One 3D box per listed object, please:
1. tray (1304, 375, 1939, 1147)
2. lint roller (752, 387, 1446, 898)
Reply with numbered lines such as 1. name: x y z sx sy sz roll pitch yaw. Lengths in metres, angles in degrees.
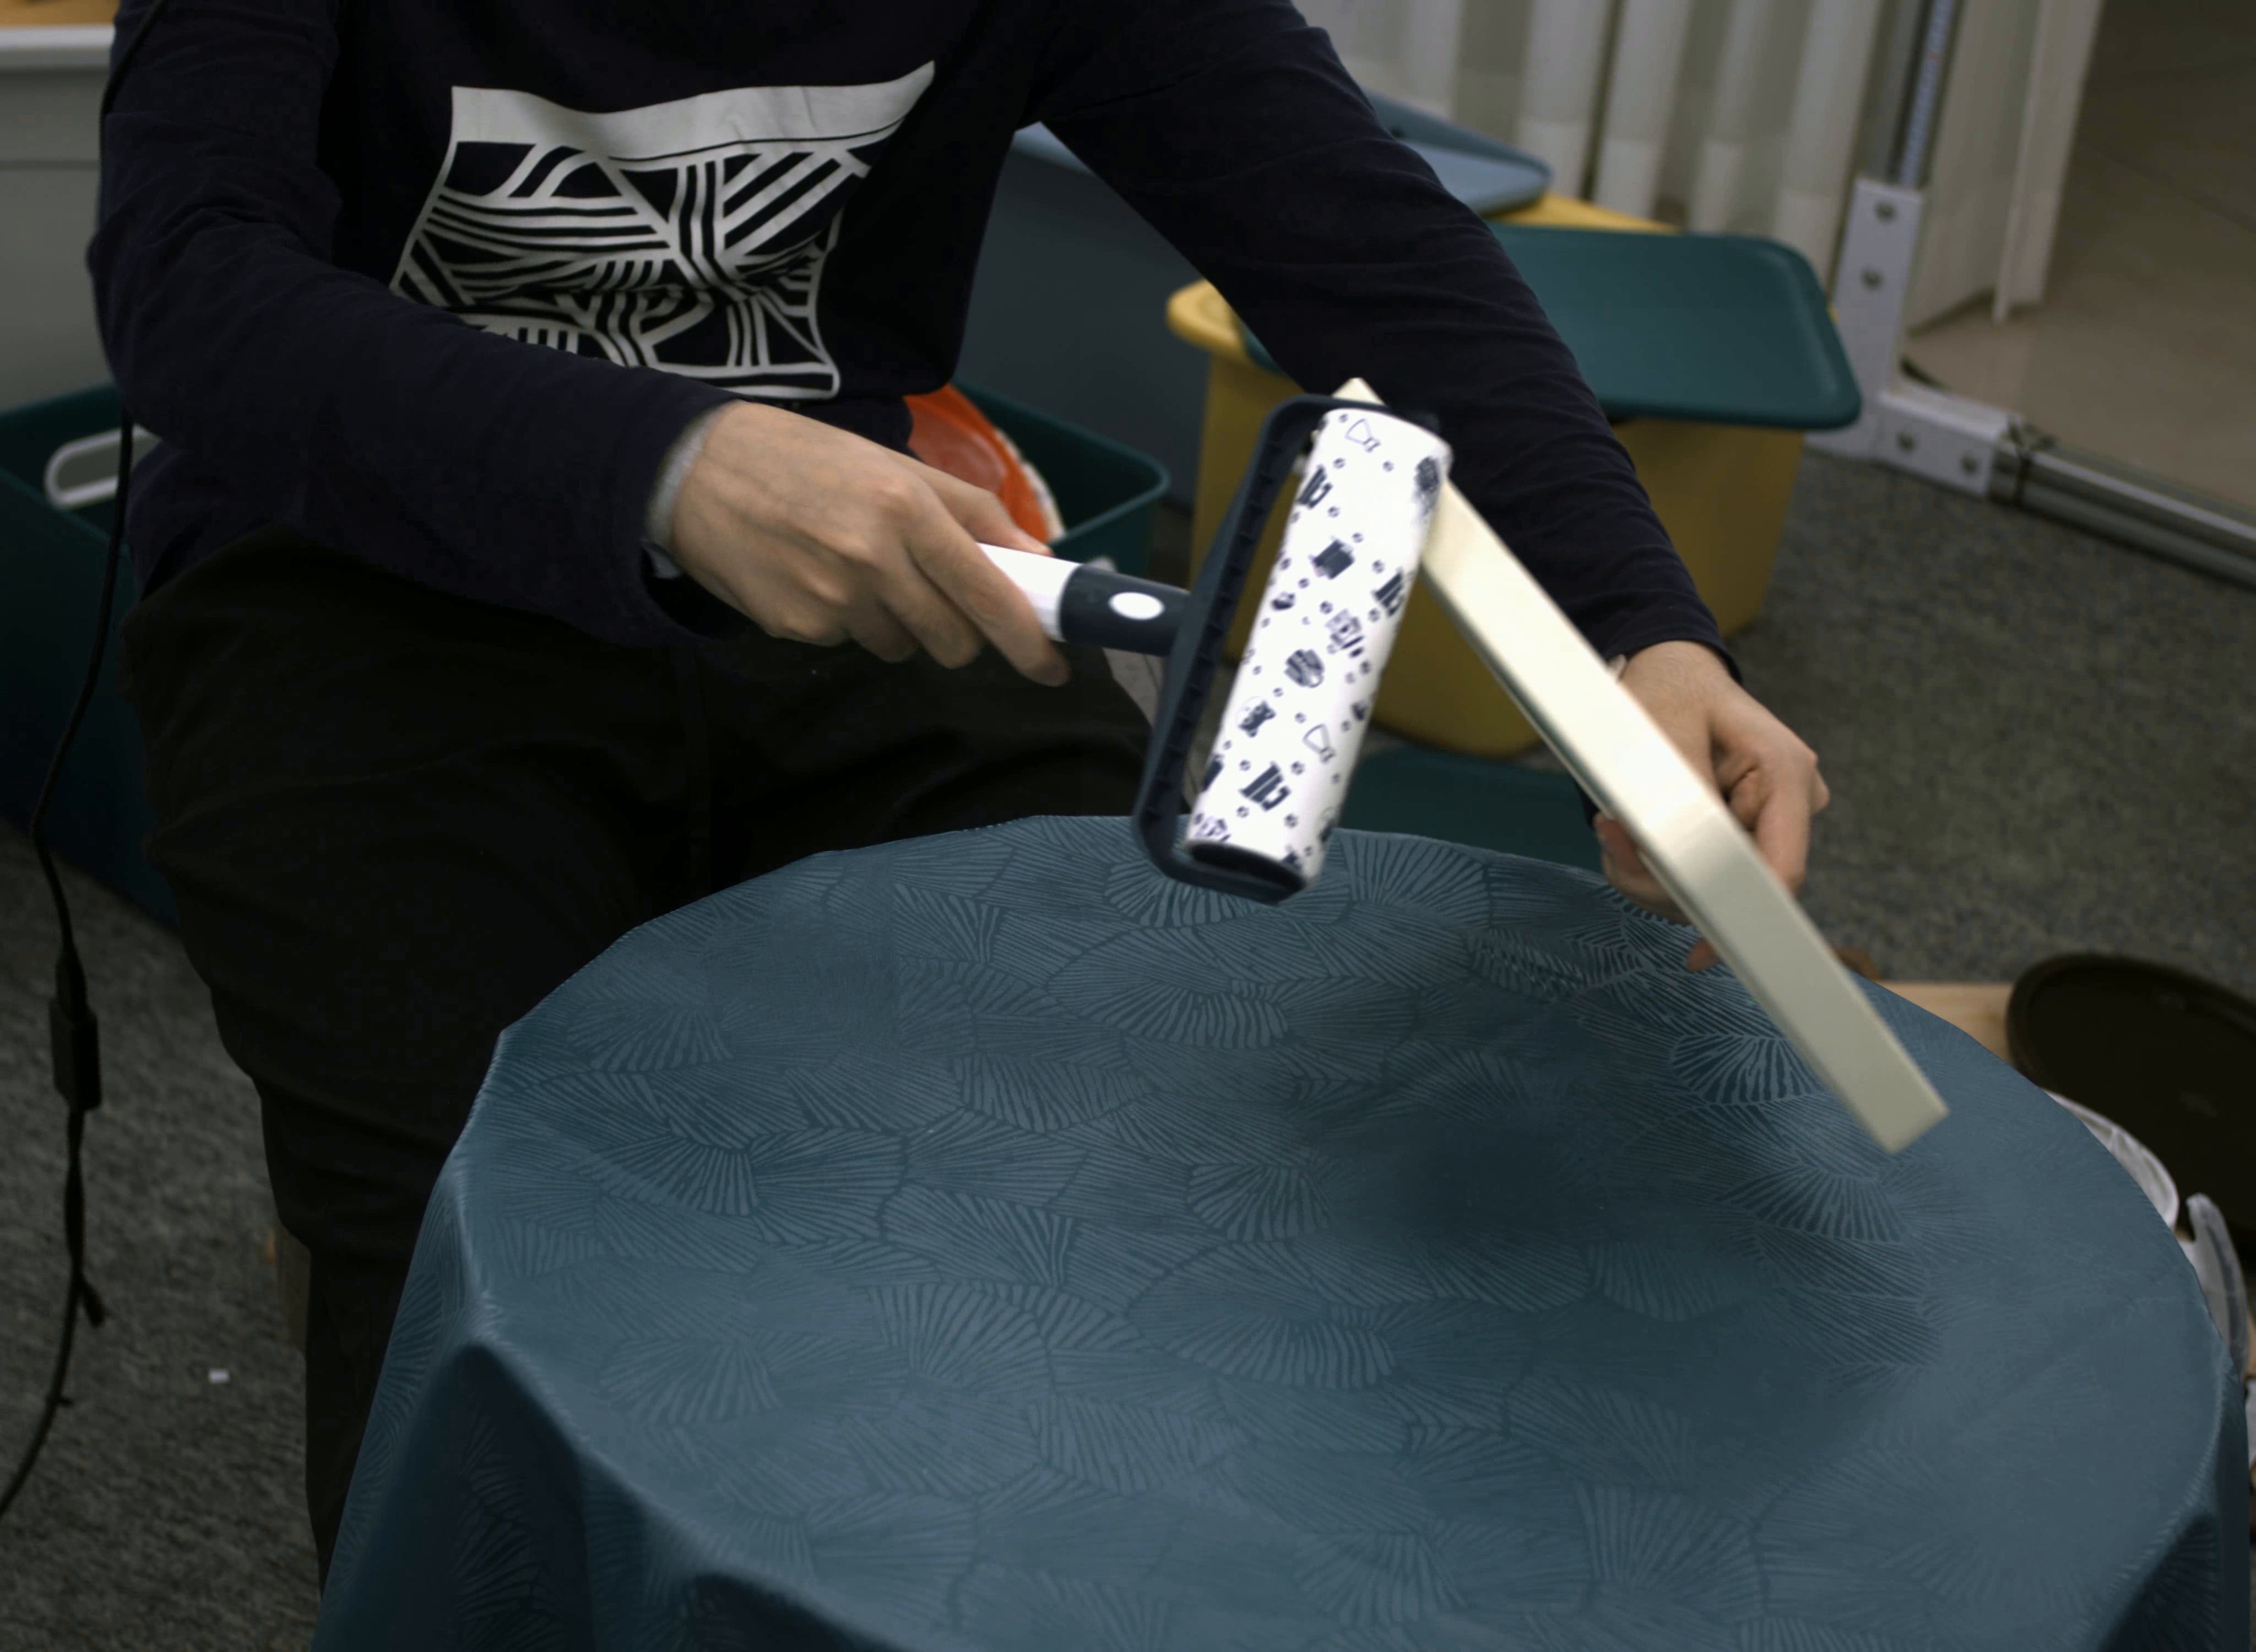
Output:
1. tray: 0.164 -0.025 1.842 0.027 0.190 0.303 -39 40 5
2. lint roller: -0.025 -0.077 1.833 0.248 0.177 0.050 10 -17 25
